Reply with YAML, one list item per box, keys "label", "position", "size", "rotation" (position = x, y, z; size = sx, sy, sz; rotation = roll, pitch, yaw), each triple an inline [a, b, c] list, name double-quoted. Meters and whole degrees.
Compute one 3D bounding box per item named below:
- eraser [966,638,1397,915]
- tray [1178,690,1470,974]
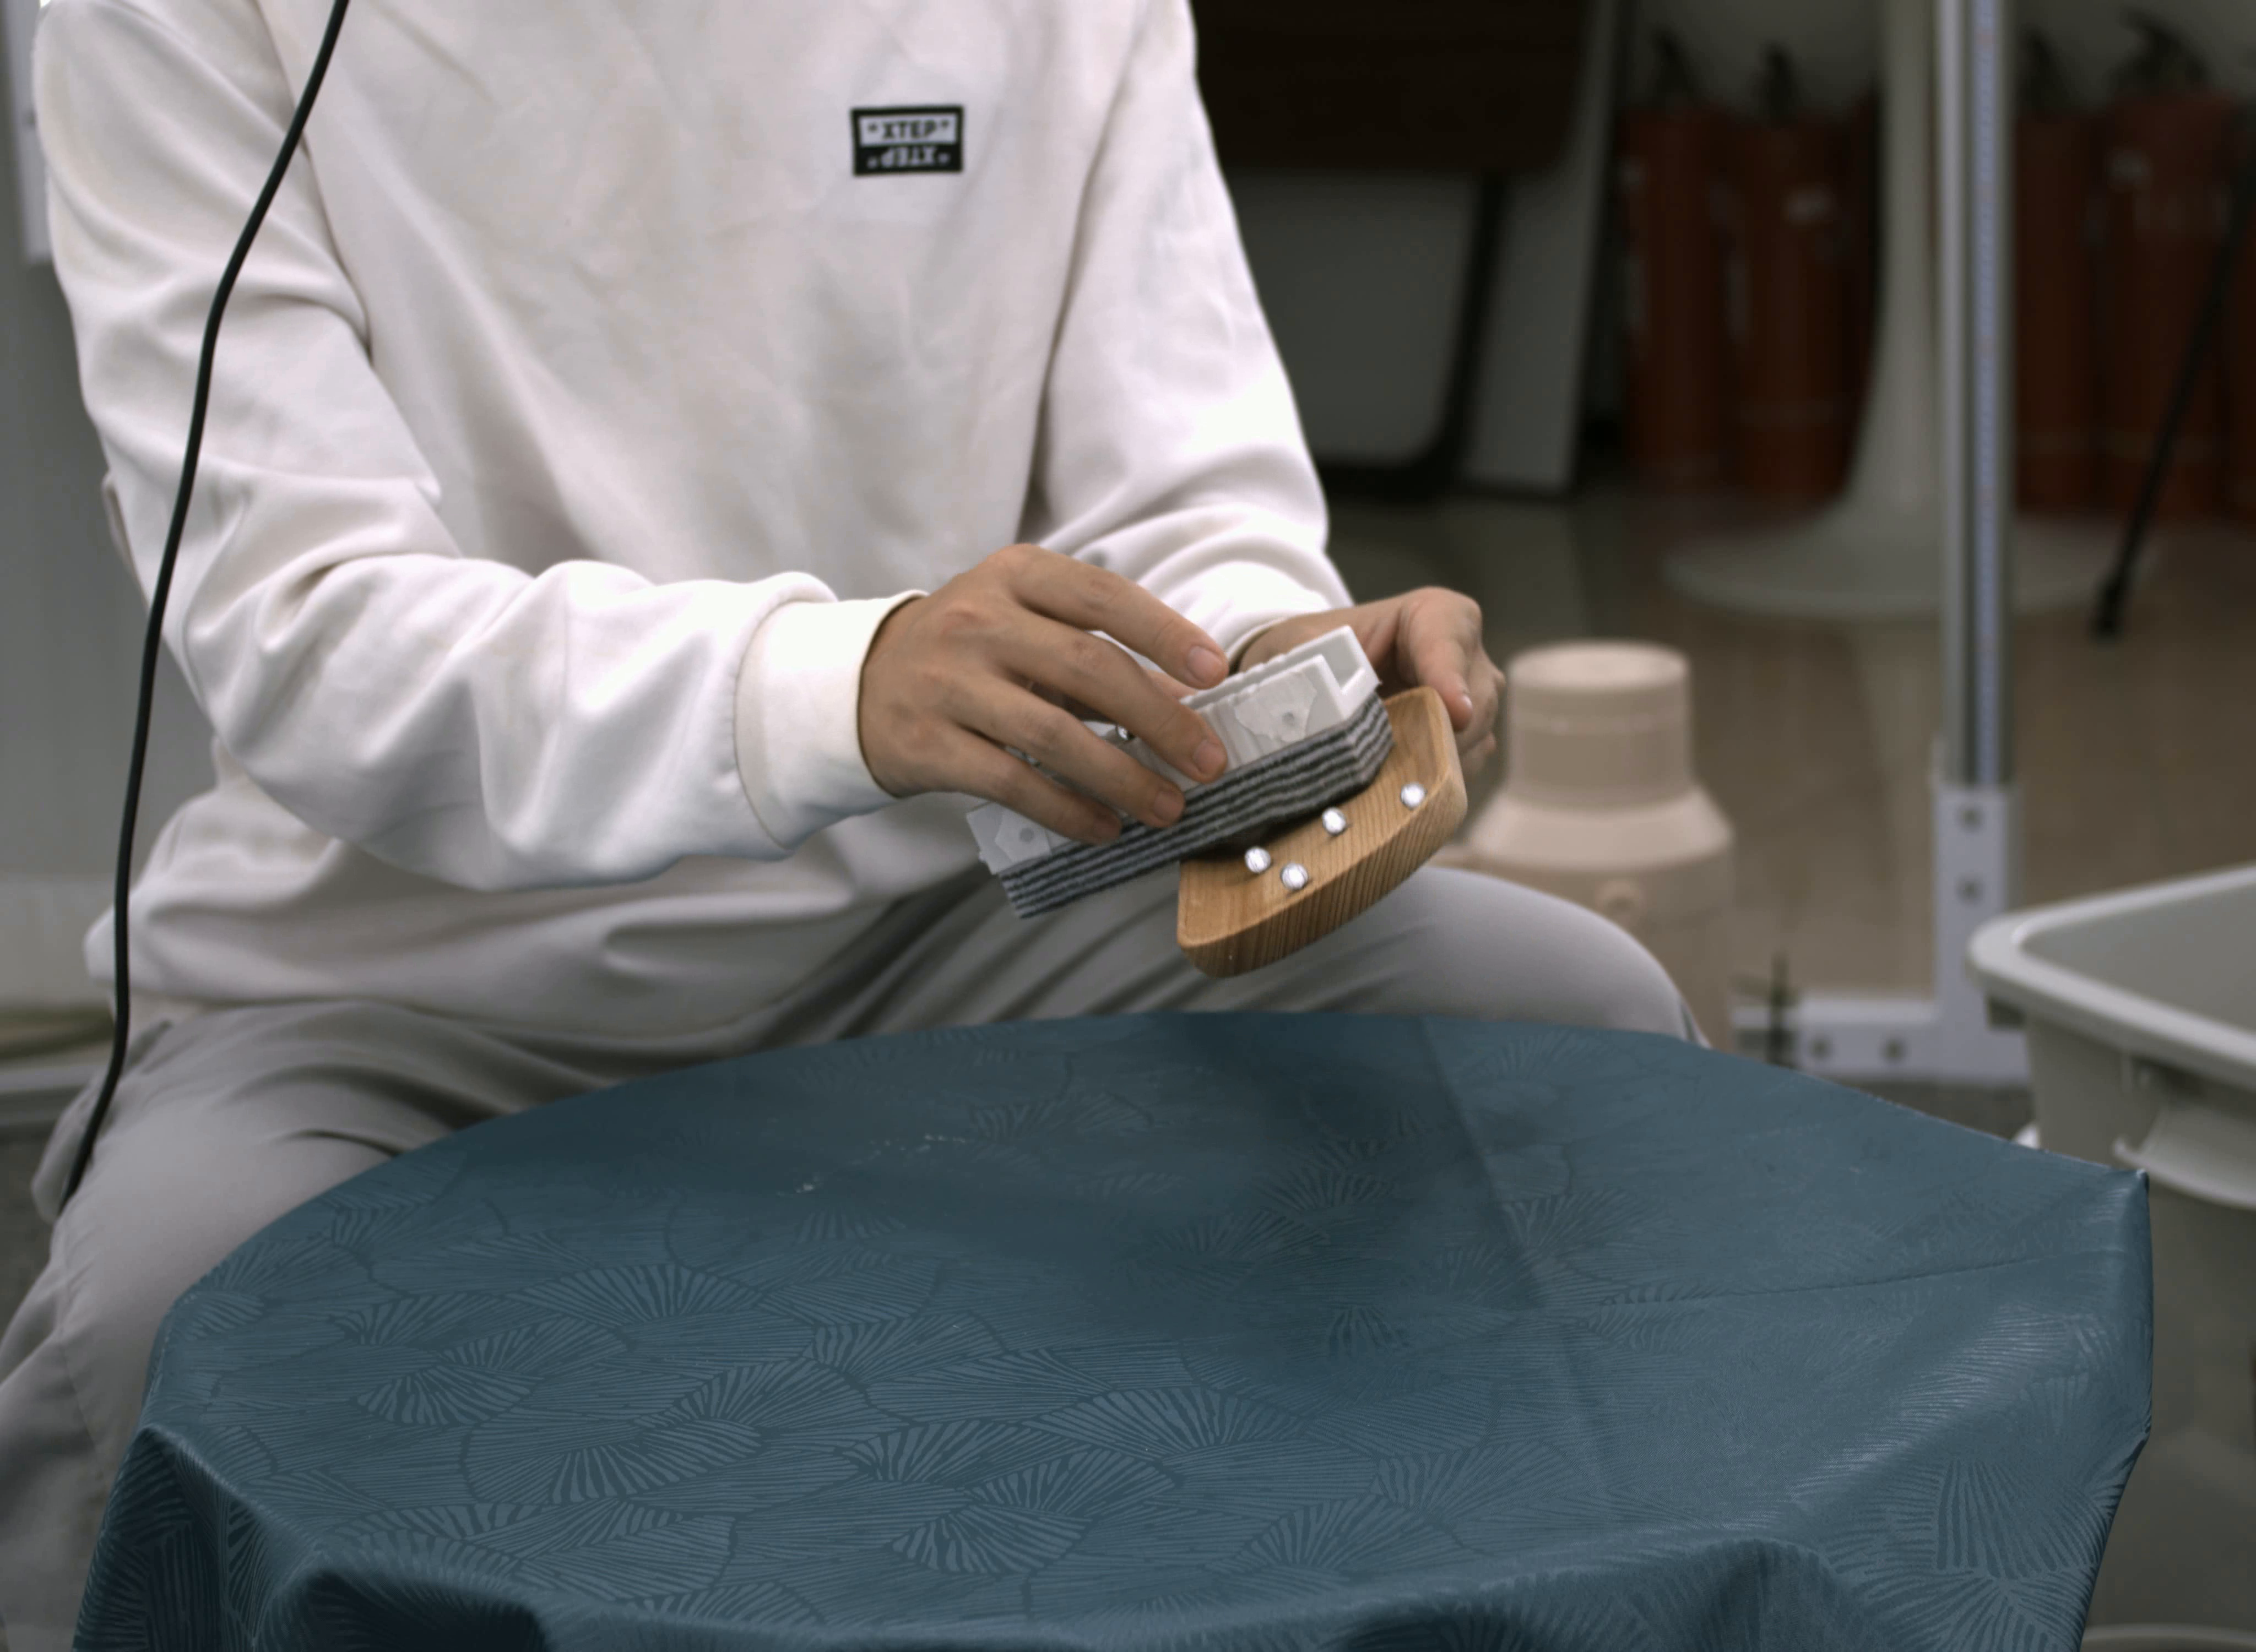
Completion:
- label: "eraser"
  position: [0.019, -0.016, 1.762]
  size: [0.134, 0.047, 0.049]
  rotation: [-22, 3, 18]
- label: "tray"
  position: [0.061, 0.001, 1.702]
  size: [0.101, 0.020, 0.231]
  rotation: [-32, 7, 6]
